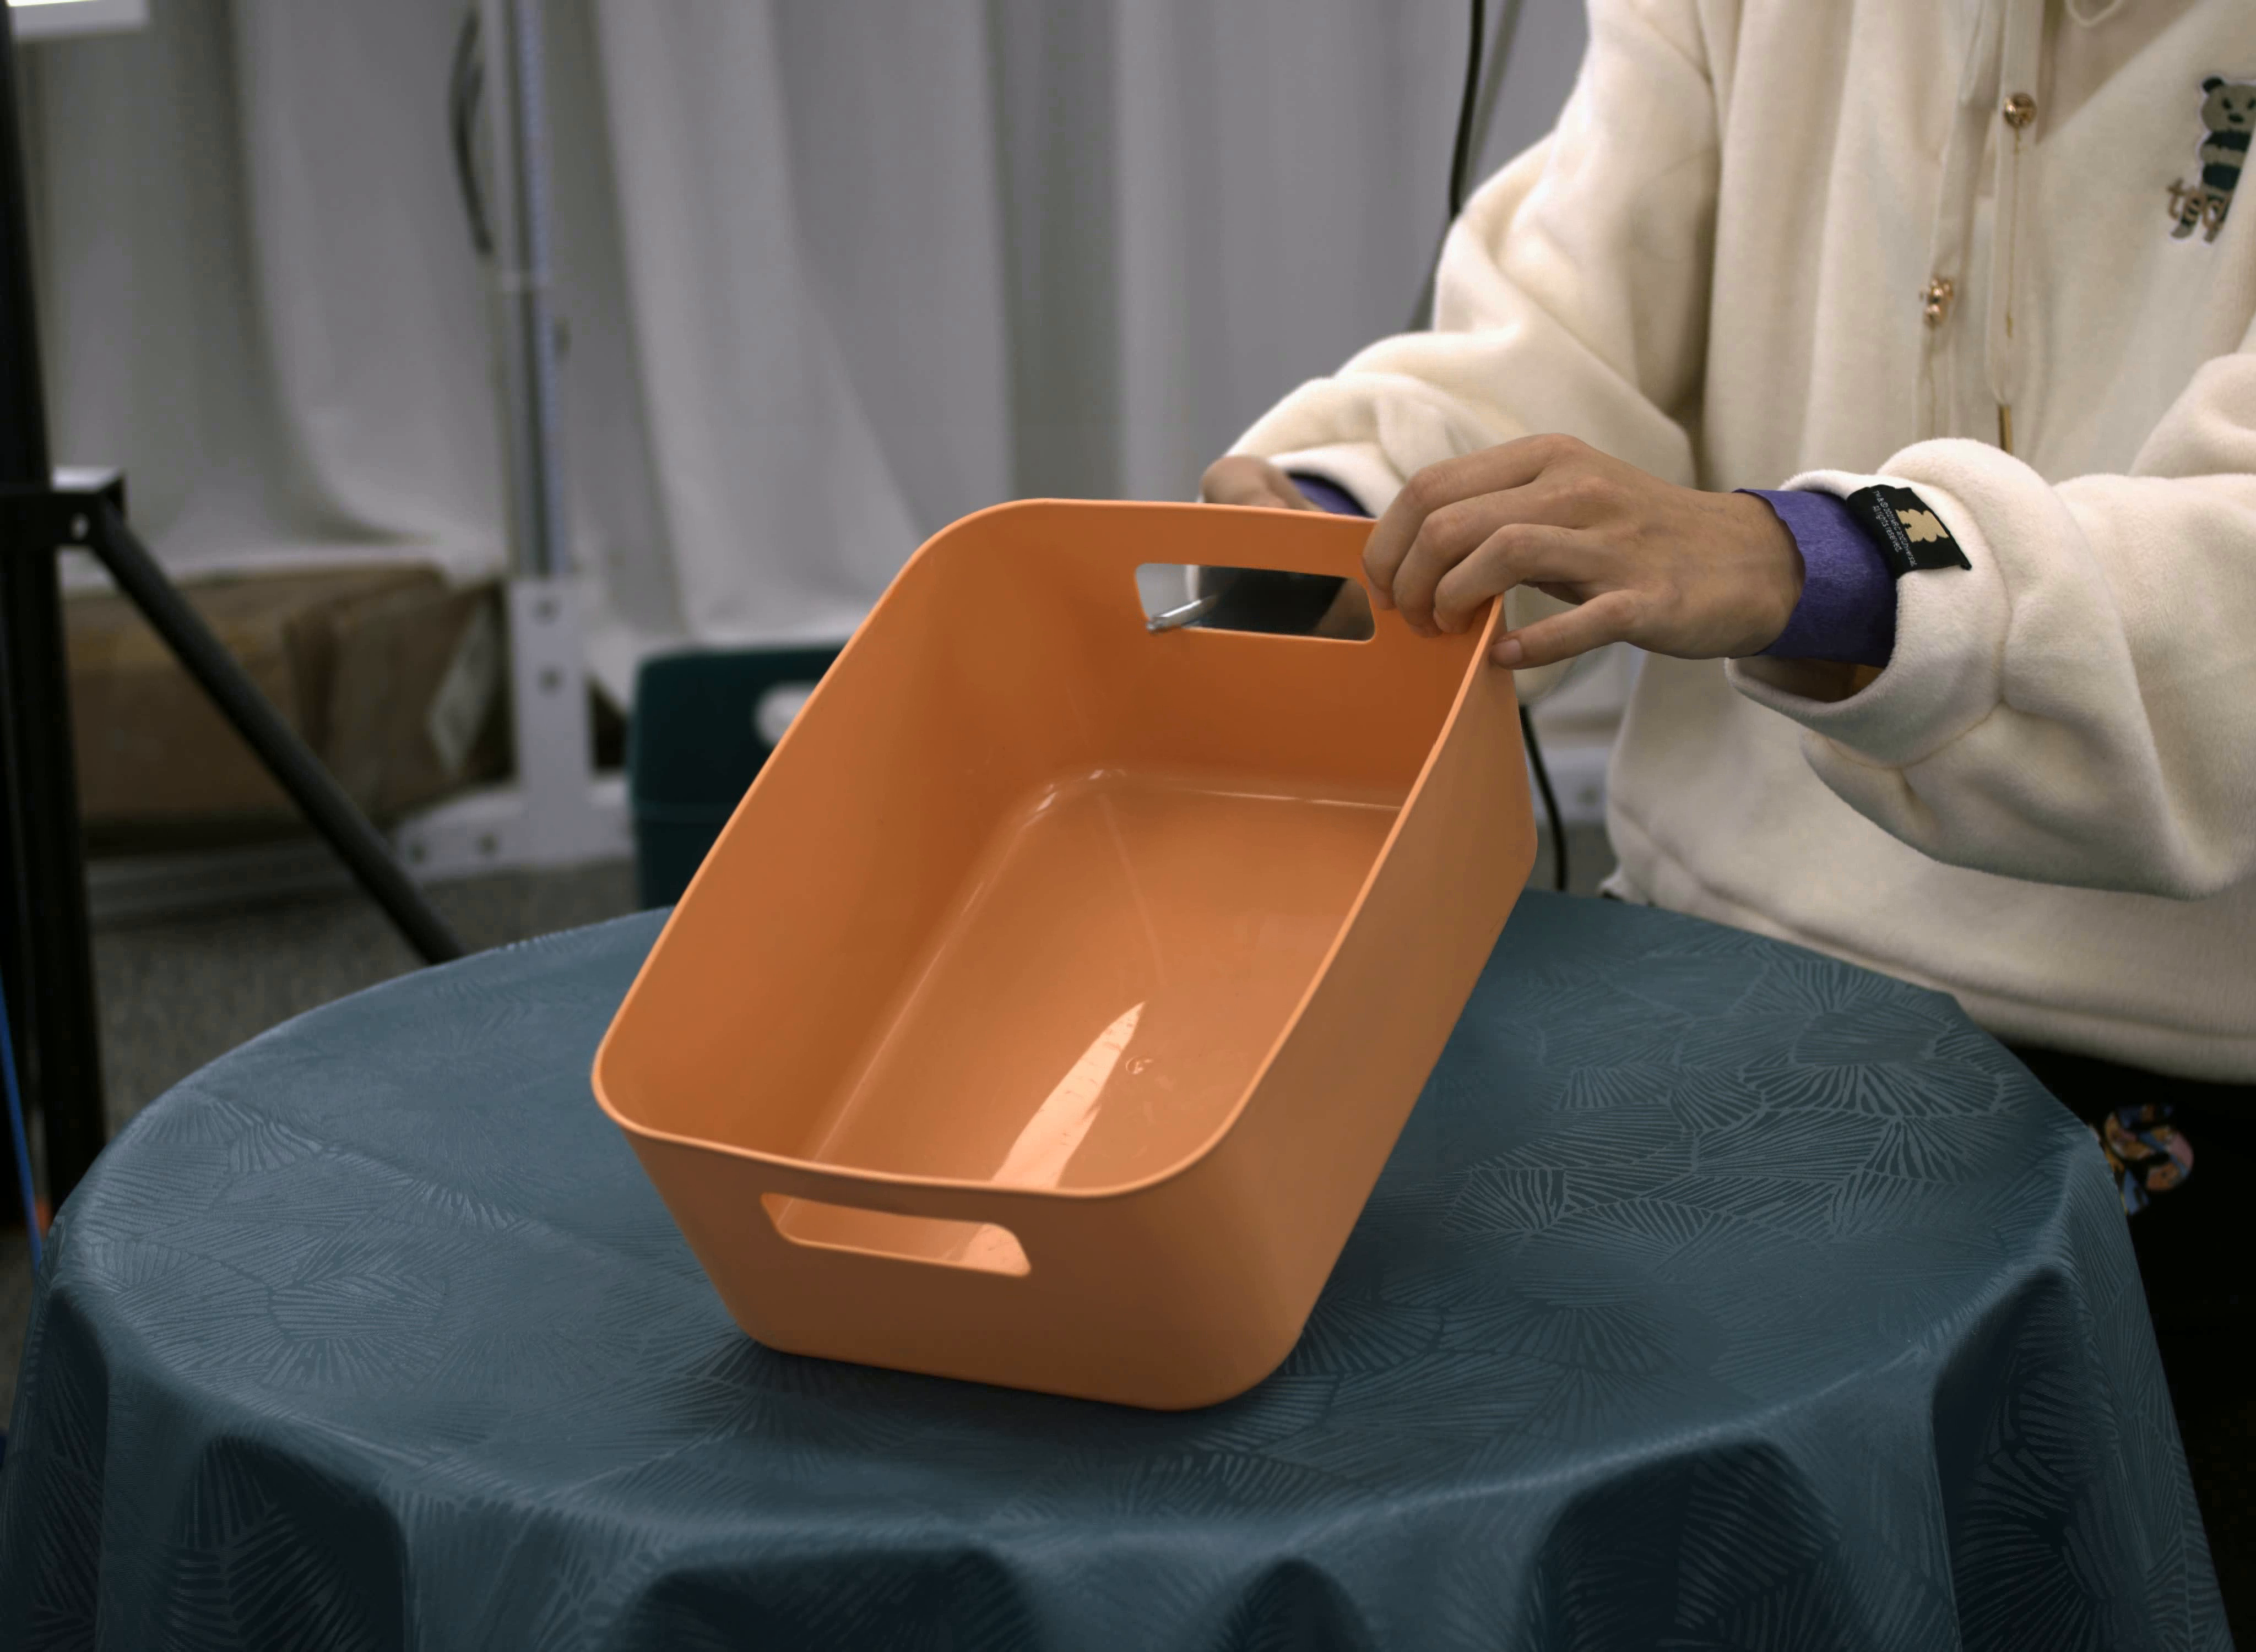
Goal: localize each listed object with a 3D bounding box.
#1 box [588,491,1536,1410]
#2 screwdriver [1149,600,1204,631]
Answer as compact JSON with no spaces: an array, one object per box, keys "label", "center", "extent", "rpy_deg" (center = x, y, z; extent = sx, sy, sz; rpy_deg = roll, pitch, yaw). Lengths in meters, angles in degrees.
[{"label":"box","center":[-0.006,0.033,1.464],"extent":[0.203,0.101,0.272],"rpy_deg":[4,44,28]},{"label":"screwdriver","center":[0.043,-0.073,1.619],"extent":[0.032,0.031,0.194],"rpy_deg":[3,10,16]}]
